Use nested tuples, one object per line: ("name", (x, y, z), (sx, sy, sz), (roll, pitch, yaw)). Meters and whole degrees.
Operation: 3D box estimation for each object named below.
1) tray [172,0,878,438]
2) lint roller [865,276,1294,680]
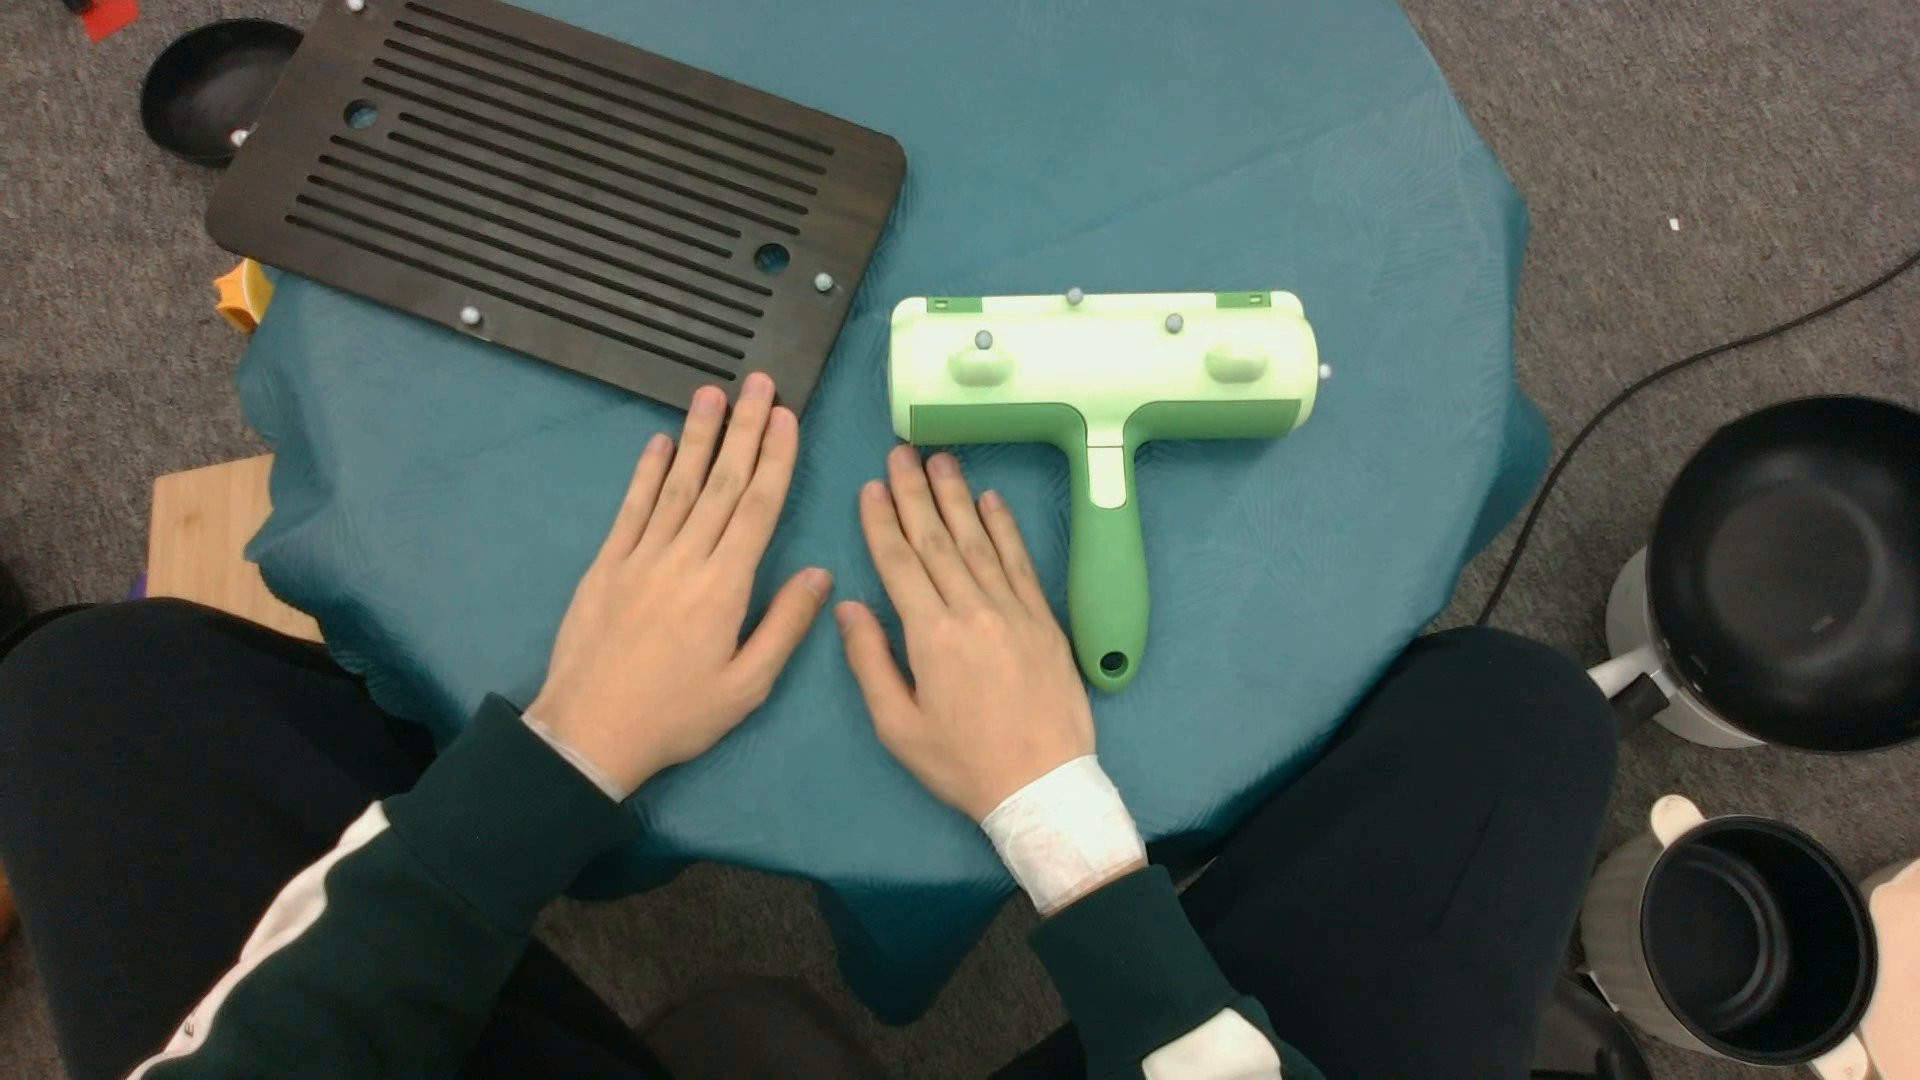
("tray", (-0.208, -0.167, 0.673), (0.306, 0.018, 0.170), (18, 75, 3))
("lint roller", (0.059, -0.034, 0.620), (0.199, 0.082, 0.184), (-2, 72, -5))
